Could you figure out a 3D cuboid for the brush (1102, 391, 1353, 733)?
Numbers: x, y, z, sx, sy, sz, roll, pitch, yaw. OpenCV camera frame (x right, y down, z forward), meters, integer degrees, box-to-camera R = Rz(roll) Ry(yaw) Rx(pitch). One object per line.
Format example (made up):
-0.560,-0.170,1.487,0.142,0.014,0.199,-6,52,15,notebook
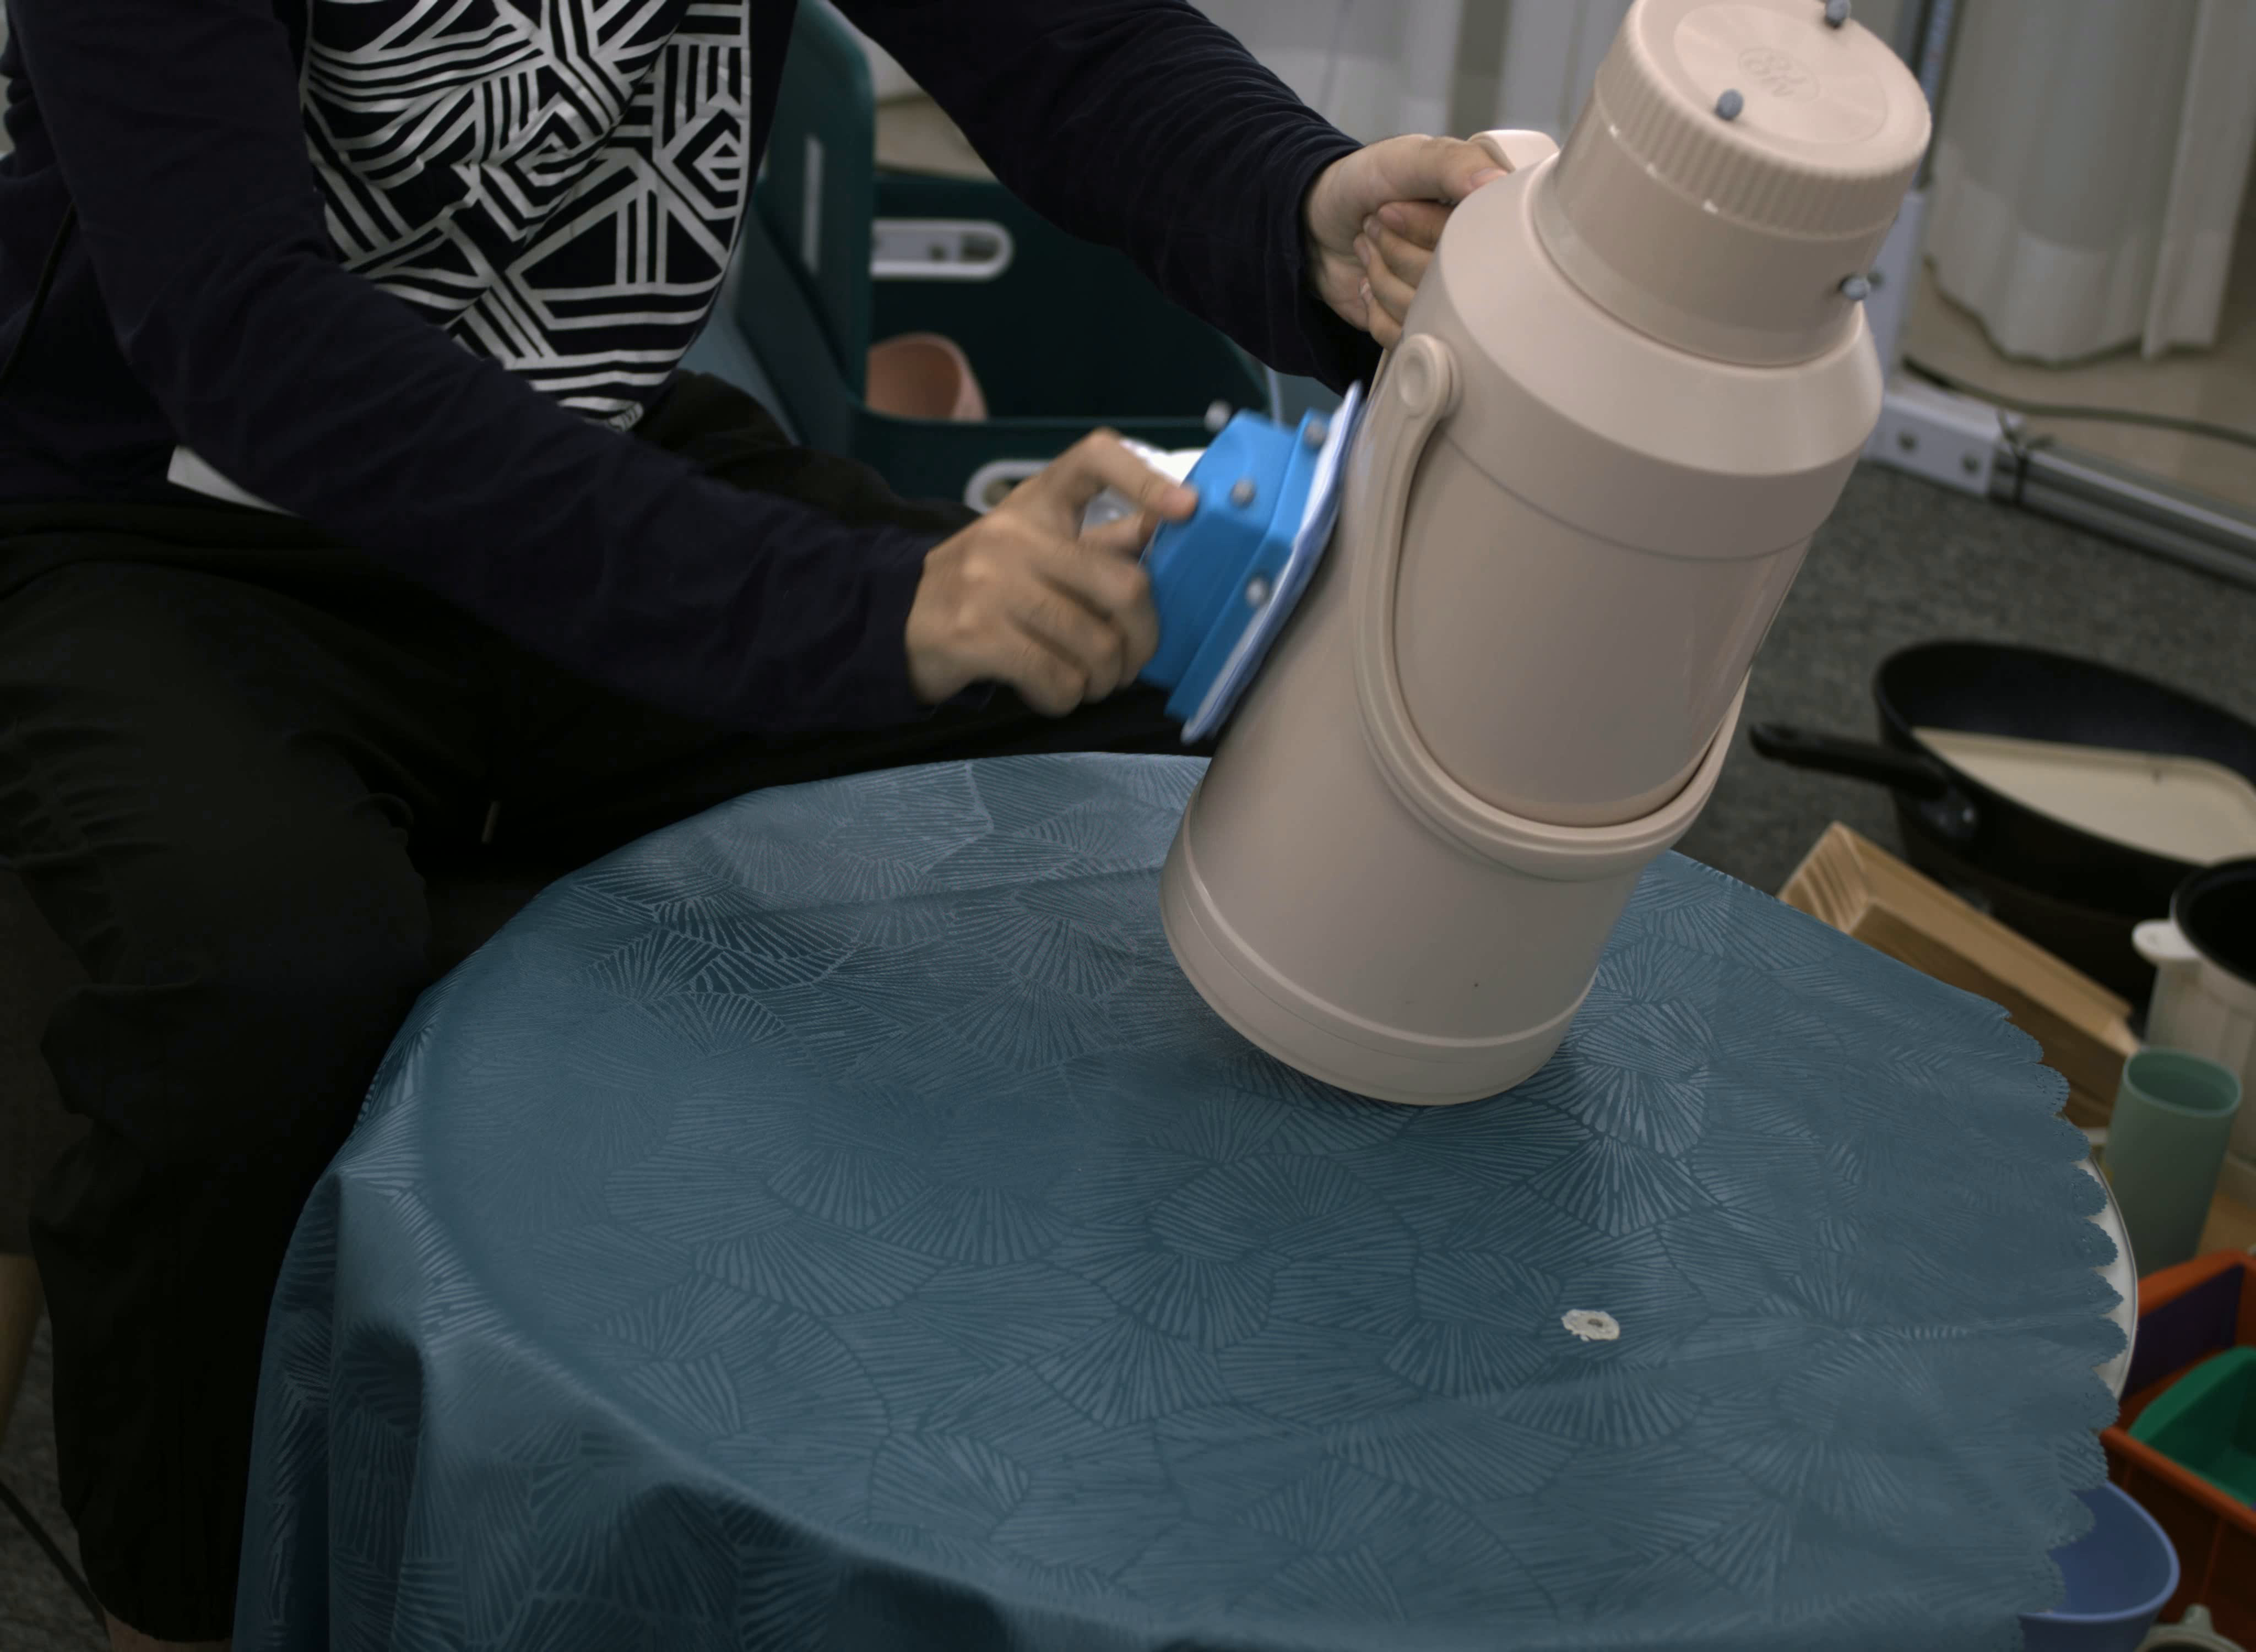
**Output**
0.030,-0.097,1.848,0.056,0.143,0.084,26,57,-5,brush

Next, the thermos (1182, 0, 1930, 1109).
0.144,-0.107,1.816,0.174,0.405,0.209,-6,46,-28,thermos
